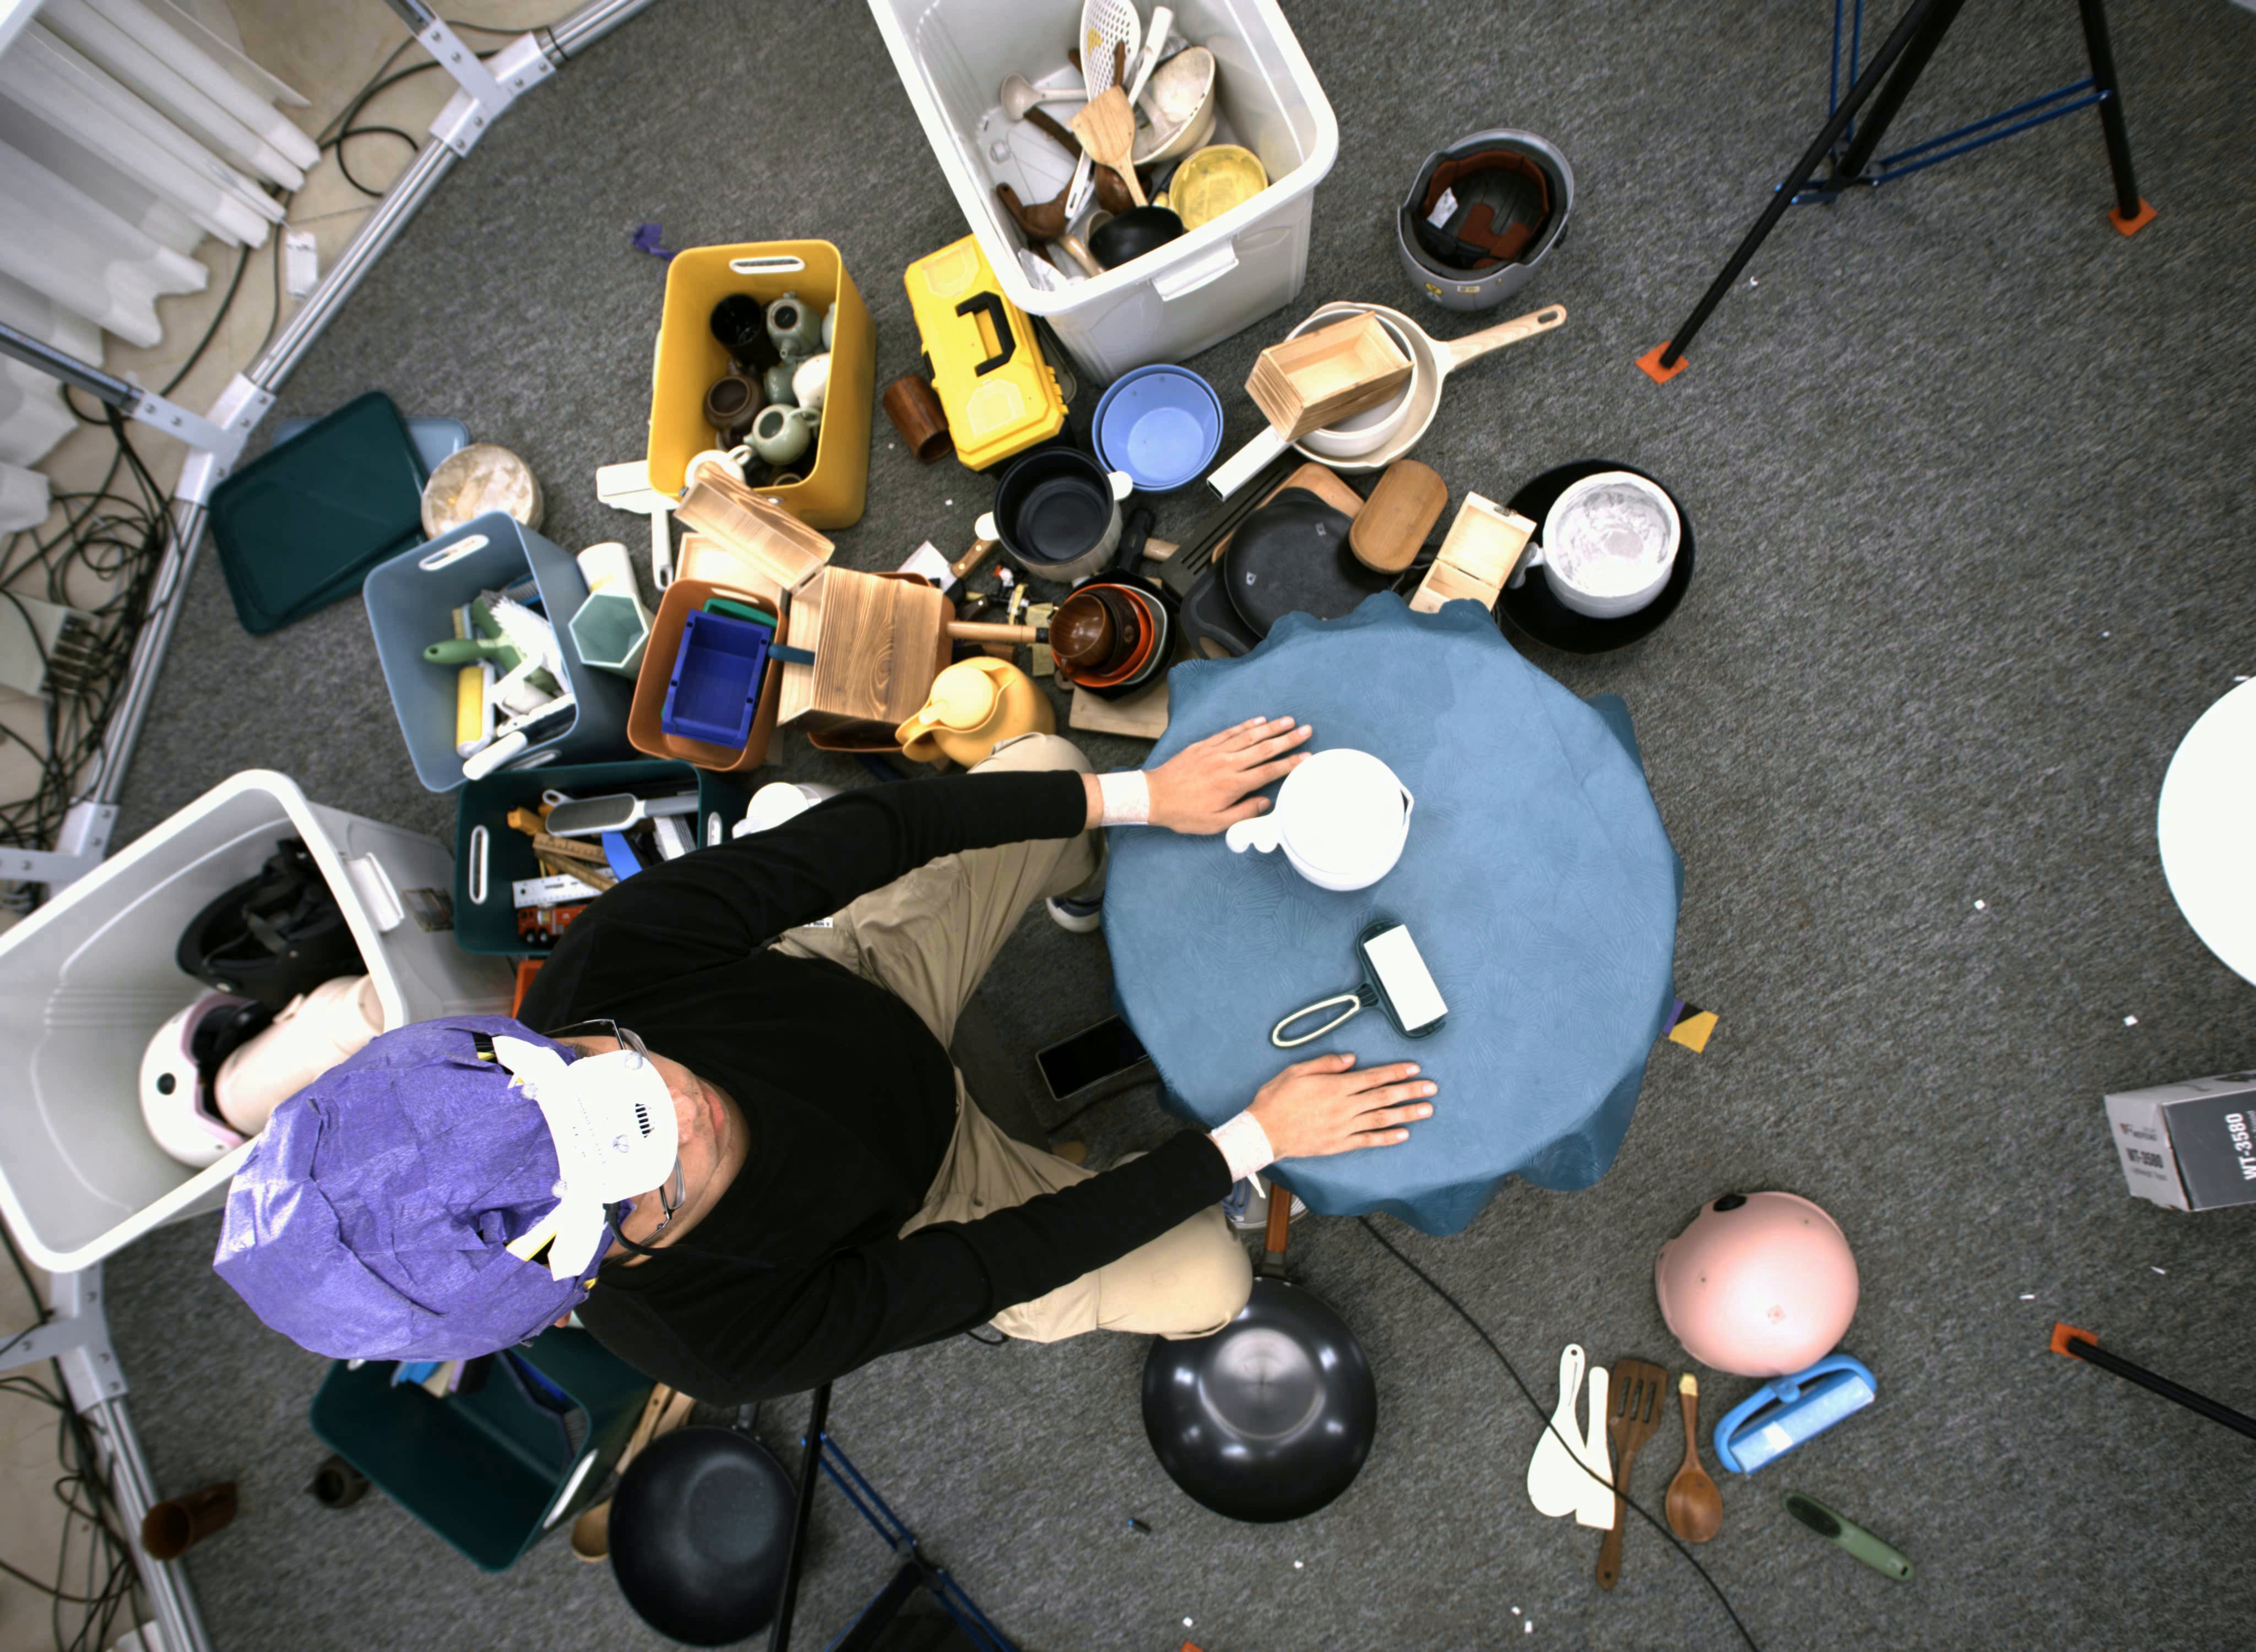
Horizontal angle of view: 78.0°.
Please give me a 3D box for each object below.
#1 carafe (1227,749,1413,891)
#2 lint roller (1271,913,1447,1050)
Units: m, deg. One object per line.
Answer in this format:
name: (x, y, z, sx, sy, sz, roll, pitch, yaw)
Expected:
carafe: (0.192, 0.000, 1.392, 0.192, 0.182, 0.131, -12, 82, 11)
lint roller: (0.227, 0.187, 1.440, 0.181, 0.048, 0.133, -27, 82, 11)
